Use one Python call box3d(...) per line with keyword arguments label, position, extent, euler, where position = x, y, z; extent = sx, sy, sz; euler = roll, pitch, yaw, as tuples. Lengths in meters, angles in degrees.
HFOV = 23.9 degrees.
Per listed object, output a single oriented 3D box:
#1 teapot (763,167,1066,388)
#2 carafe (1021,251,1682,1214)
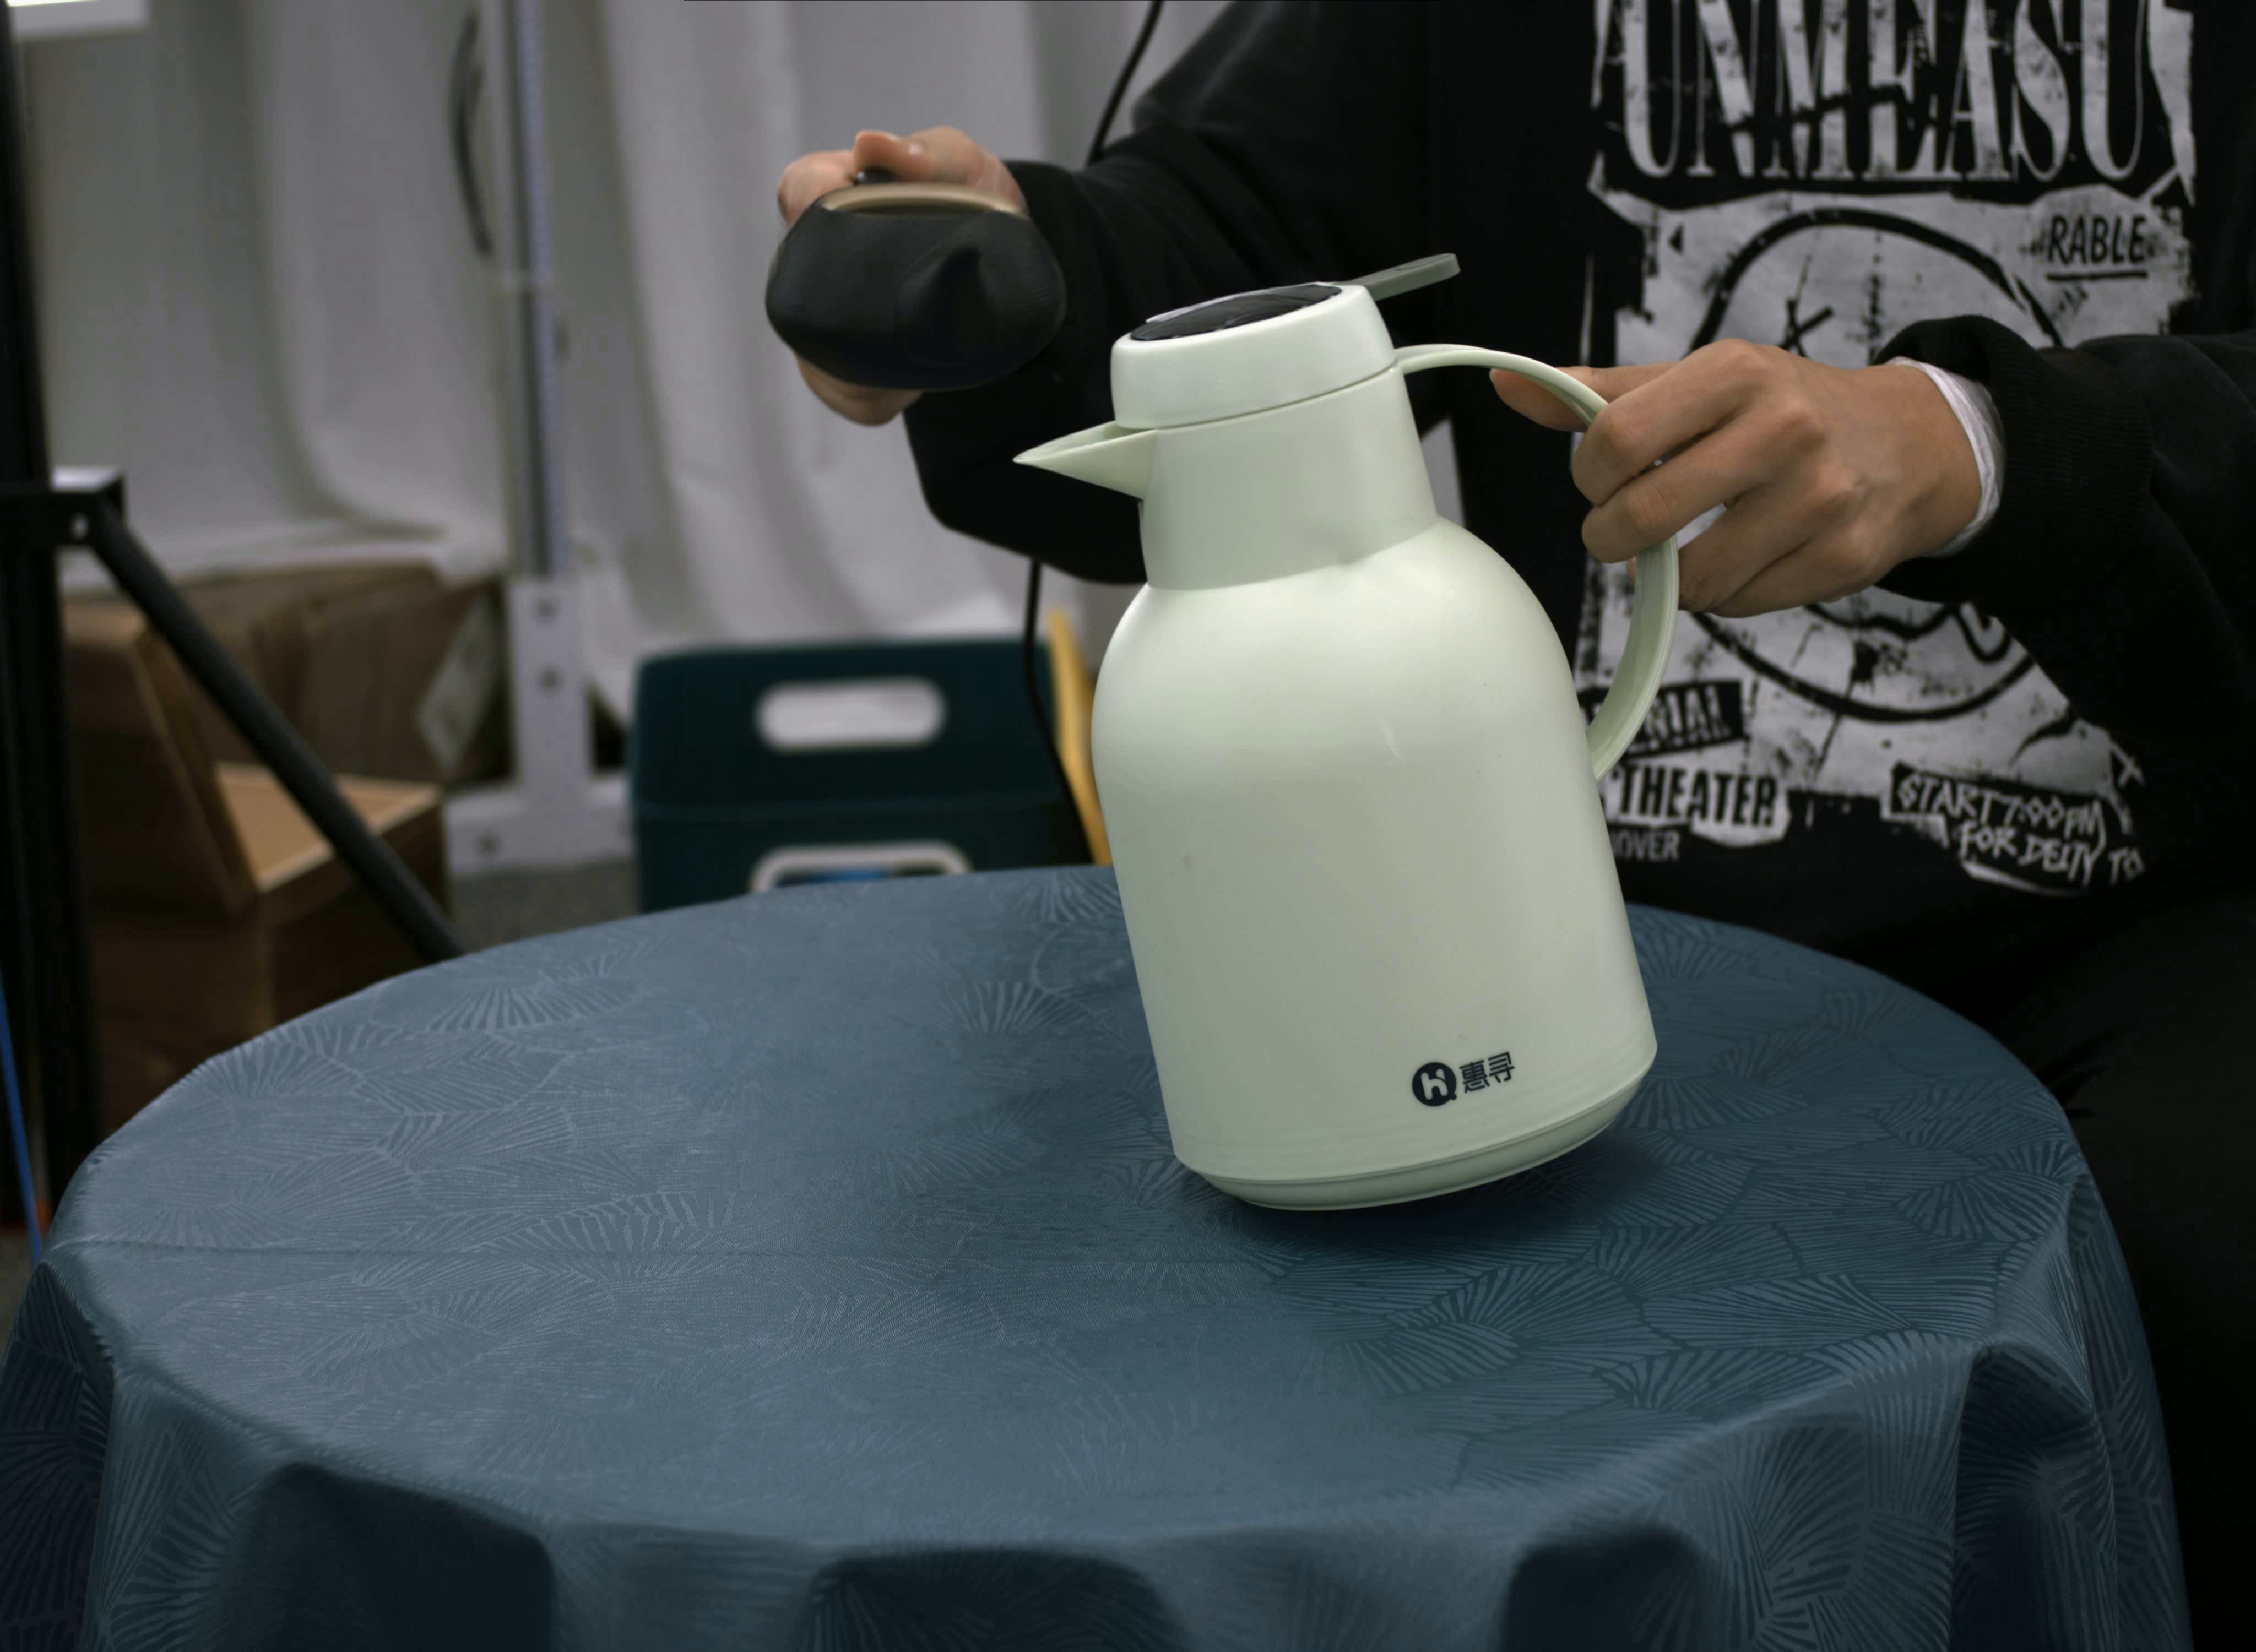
box3d(label="teapot", position=(-0.064, -0.162, 1.594), extent=(0.089, 0.053, 0.135), euler=(-2, 17, -14))
box3d(label="carafe", position=(0.074, -0.030, 1.531), extent=(0.184, 0.257, 0.146), euler=(-12, 9, -13))
